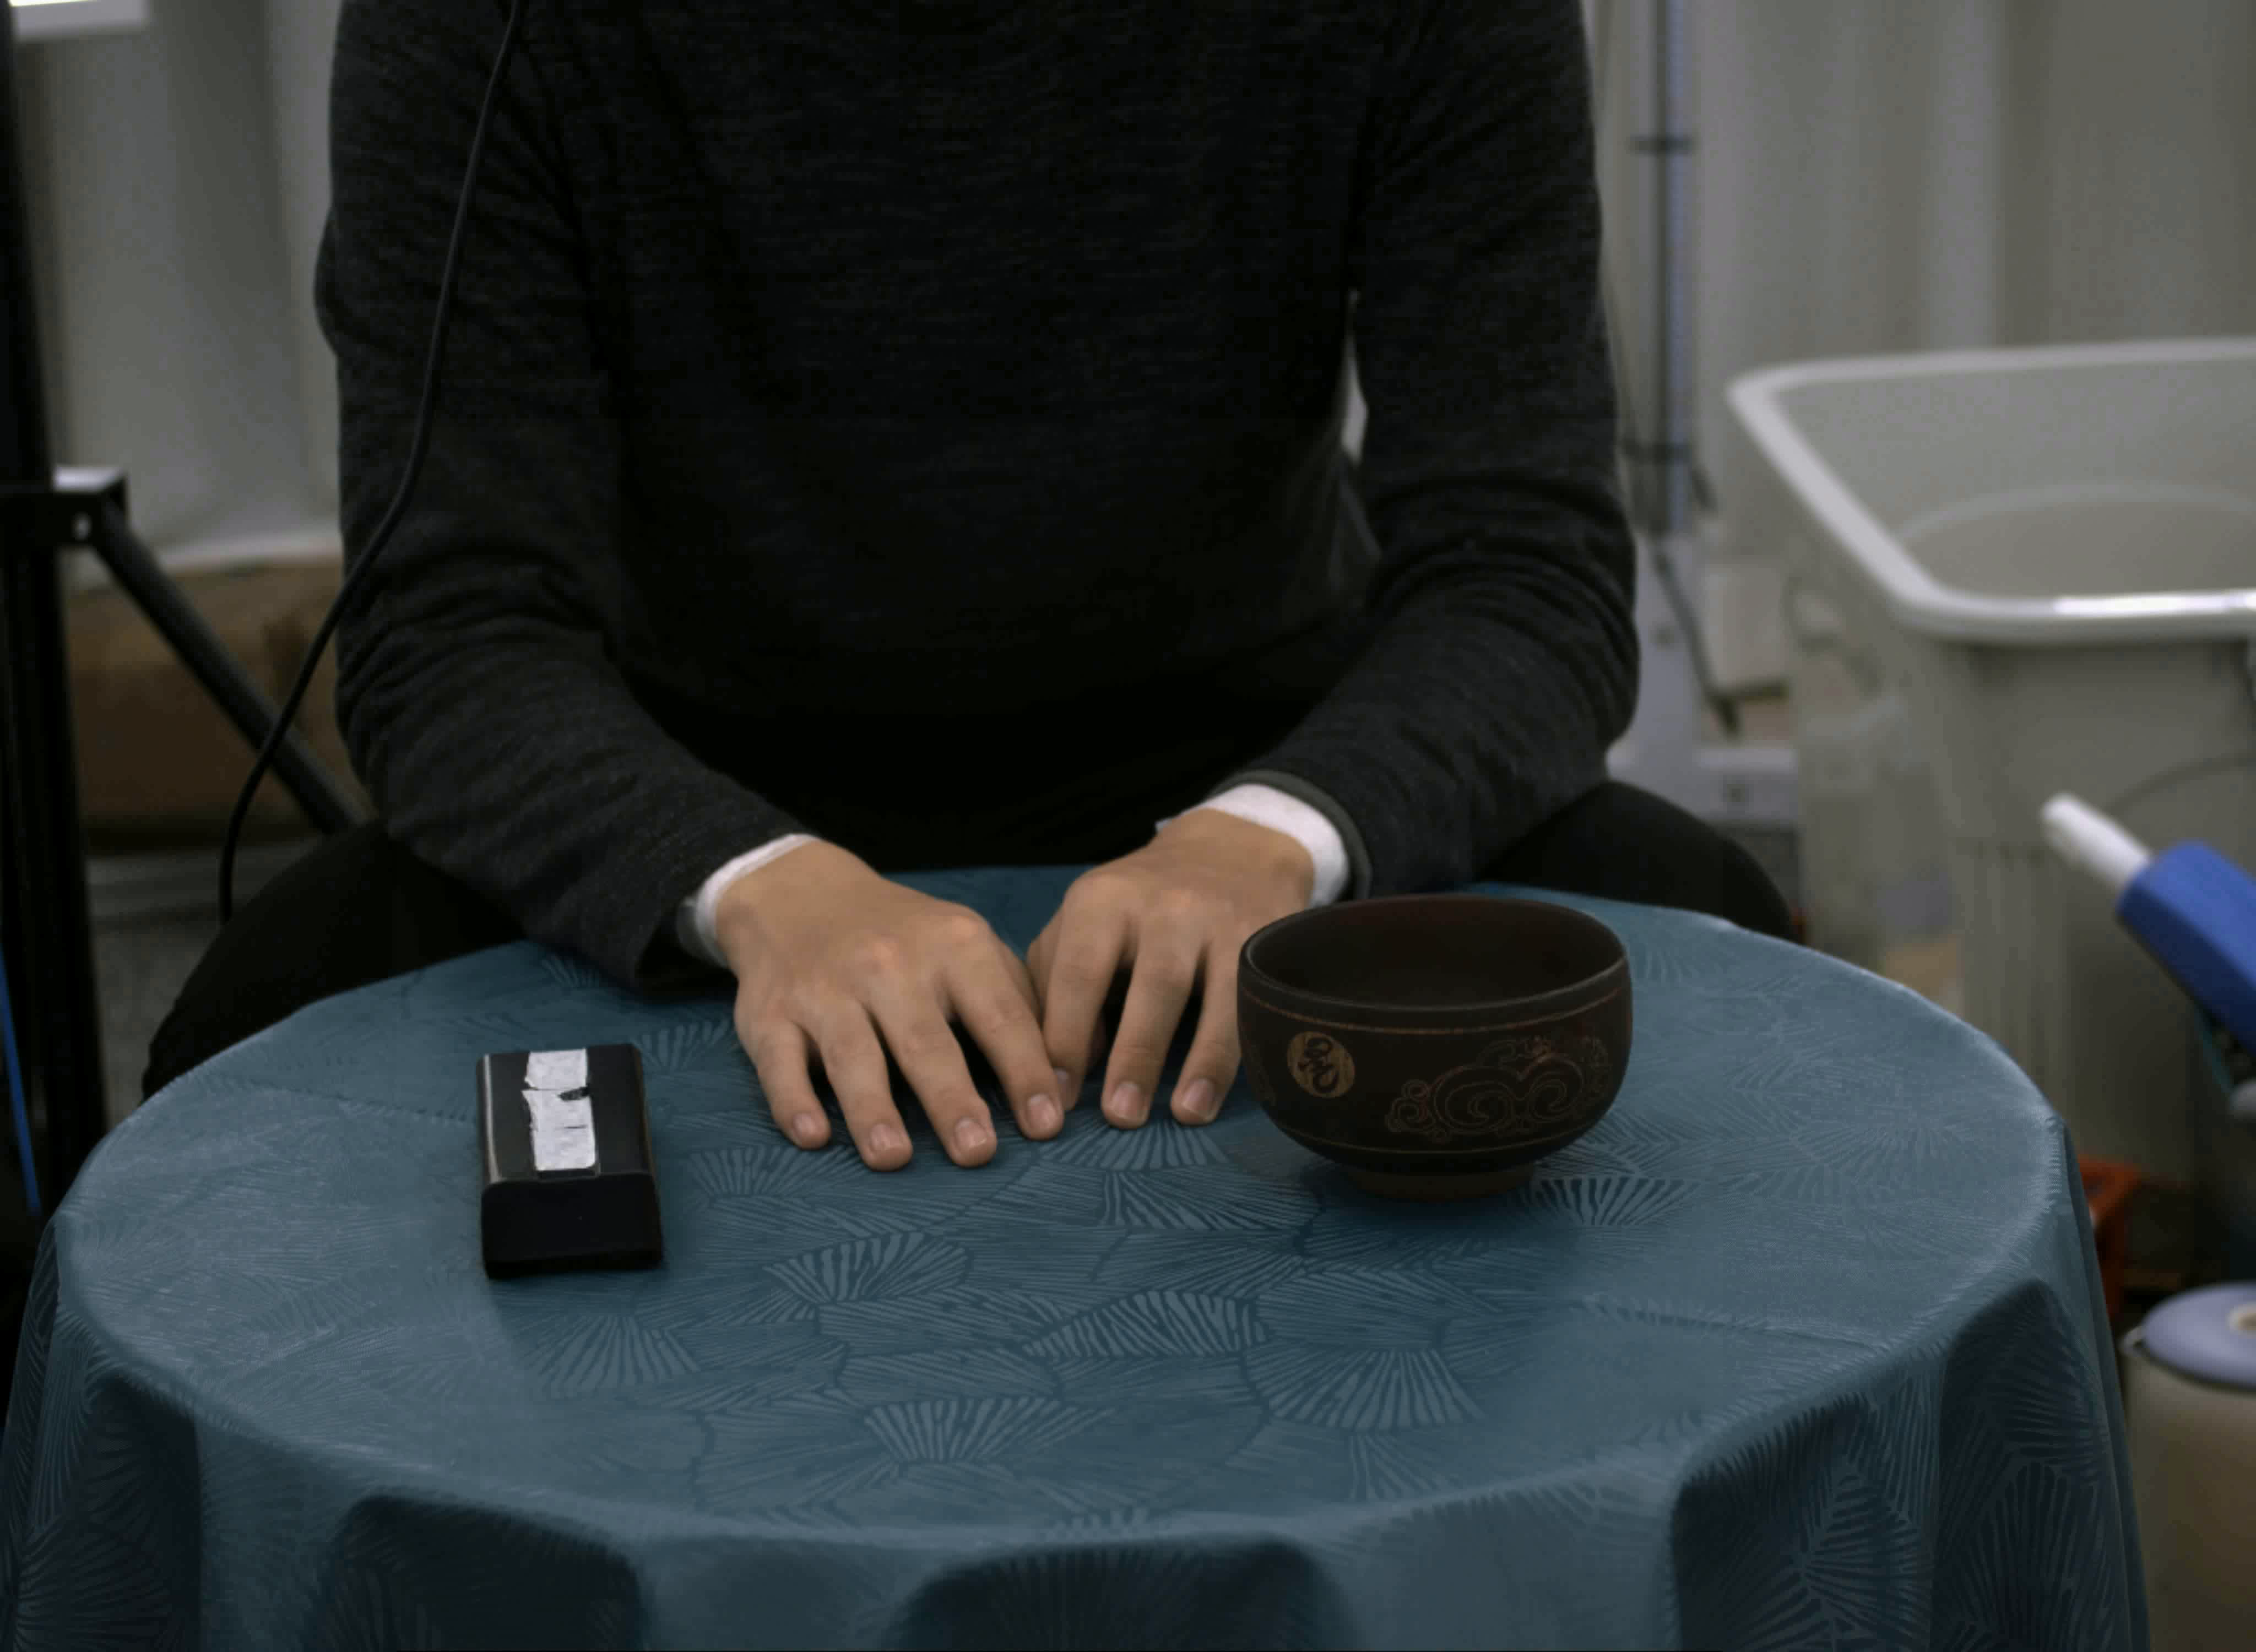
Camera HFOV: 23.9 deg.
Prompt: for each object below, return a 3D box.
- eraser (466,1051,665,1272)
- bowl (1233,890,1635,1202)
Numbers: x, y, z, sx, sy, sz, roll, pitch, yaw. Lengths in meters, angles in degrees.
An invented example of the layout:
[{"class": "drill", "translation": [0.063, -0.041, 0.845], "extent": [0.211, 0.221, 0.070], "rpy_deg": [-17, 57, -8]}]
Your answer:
[{"class": "eraser", "translation": [-0.166, 0.098, 1.568], "extent": [0.053, 0.030, 0.127], "rpy_deg": [-2, 15, -8]}, {"class": "bowl", "translation": [0.090, 0.068, 1.553], "extent": [0.117, 0.070, 0.118], "rpy_deg": [-4, 16, 0]}]
